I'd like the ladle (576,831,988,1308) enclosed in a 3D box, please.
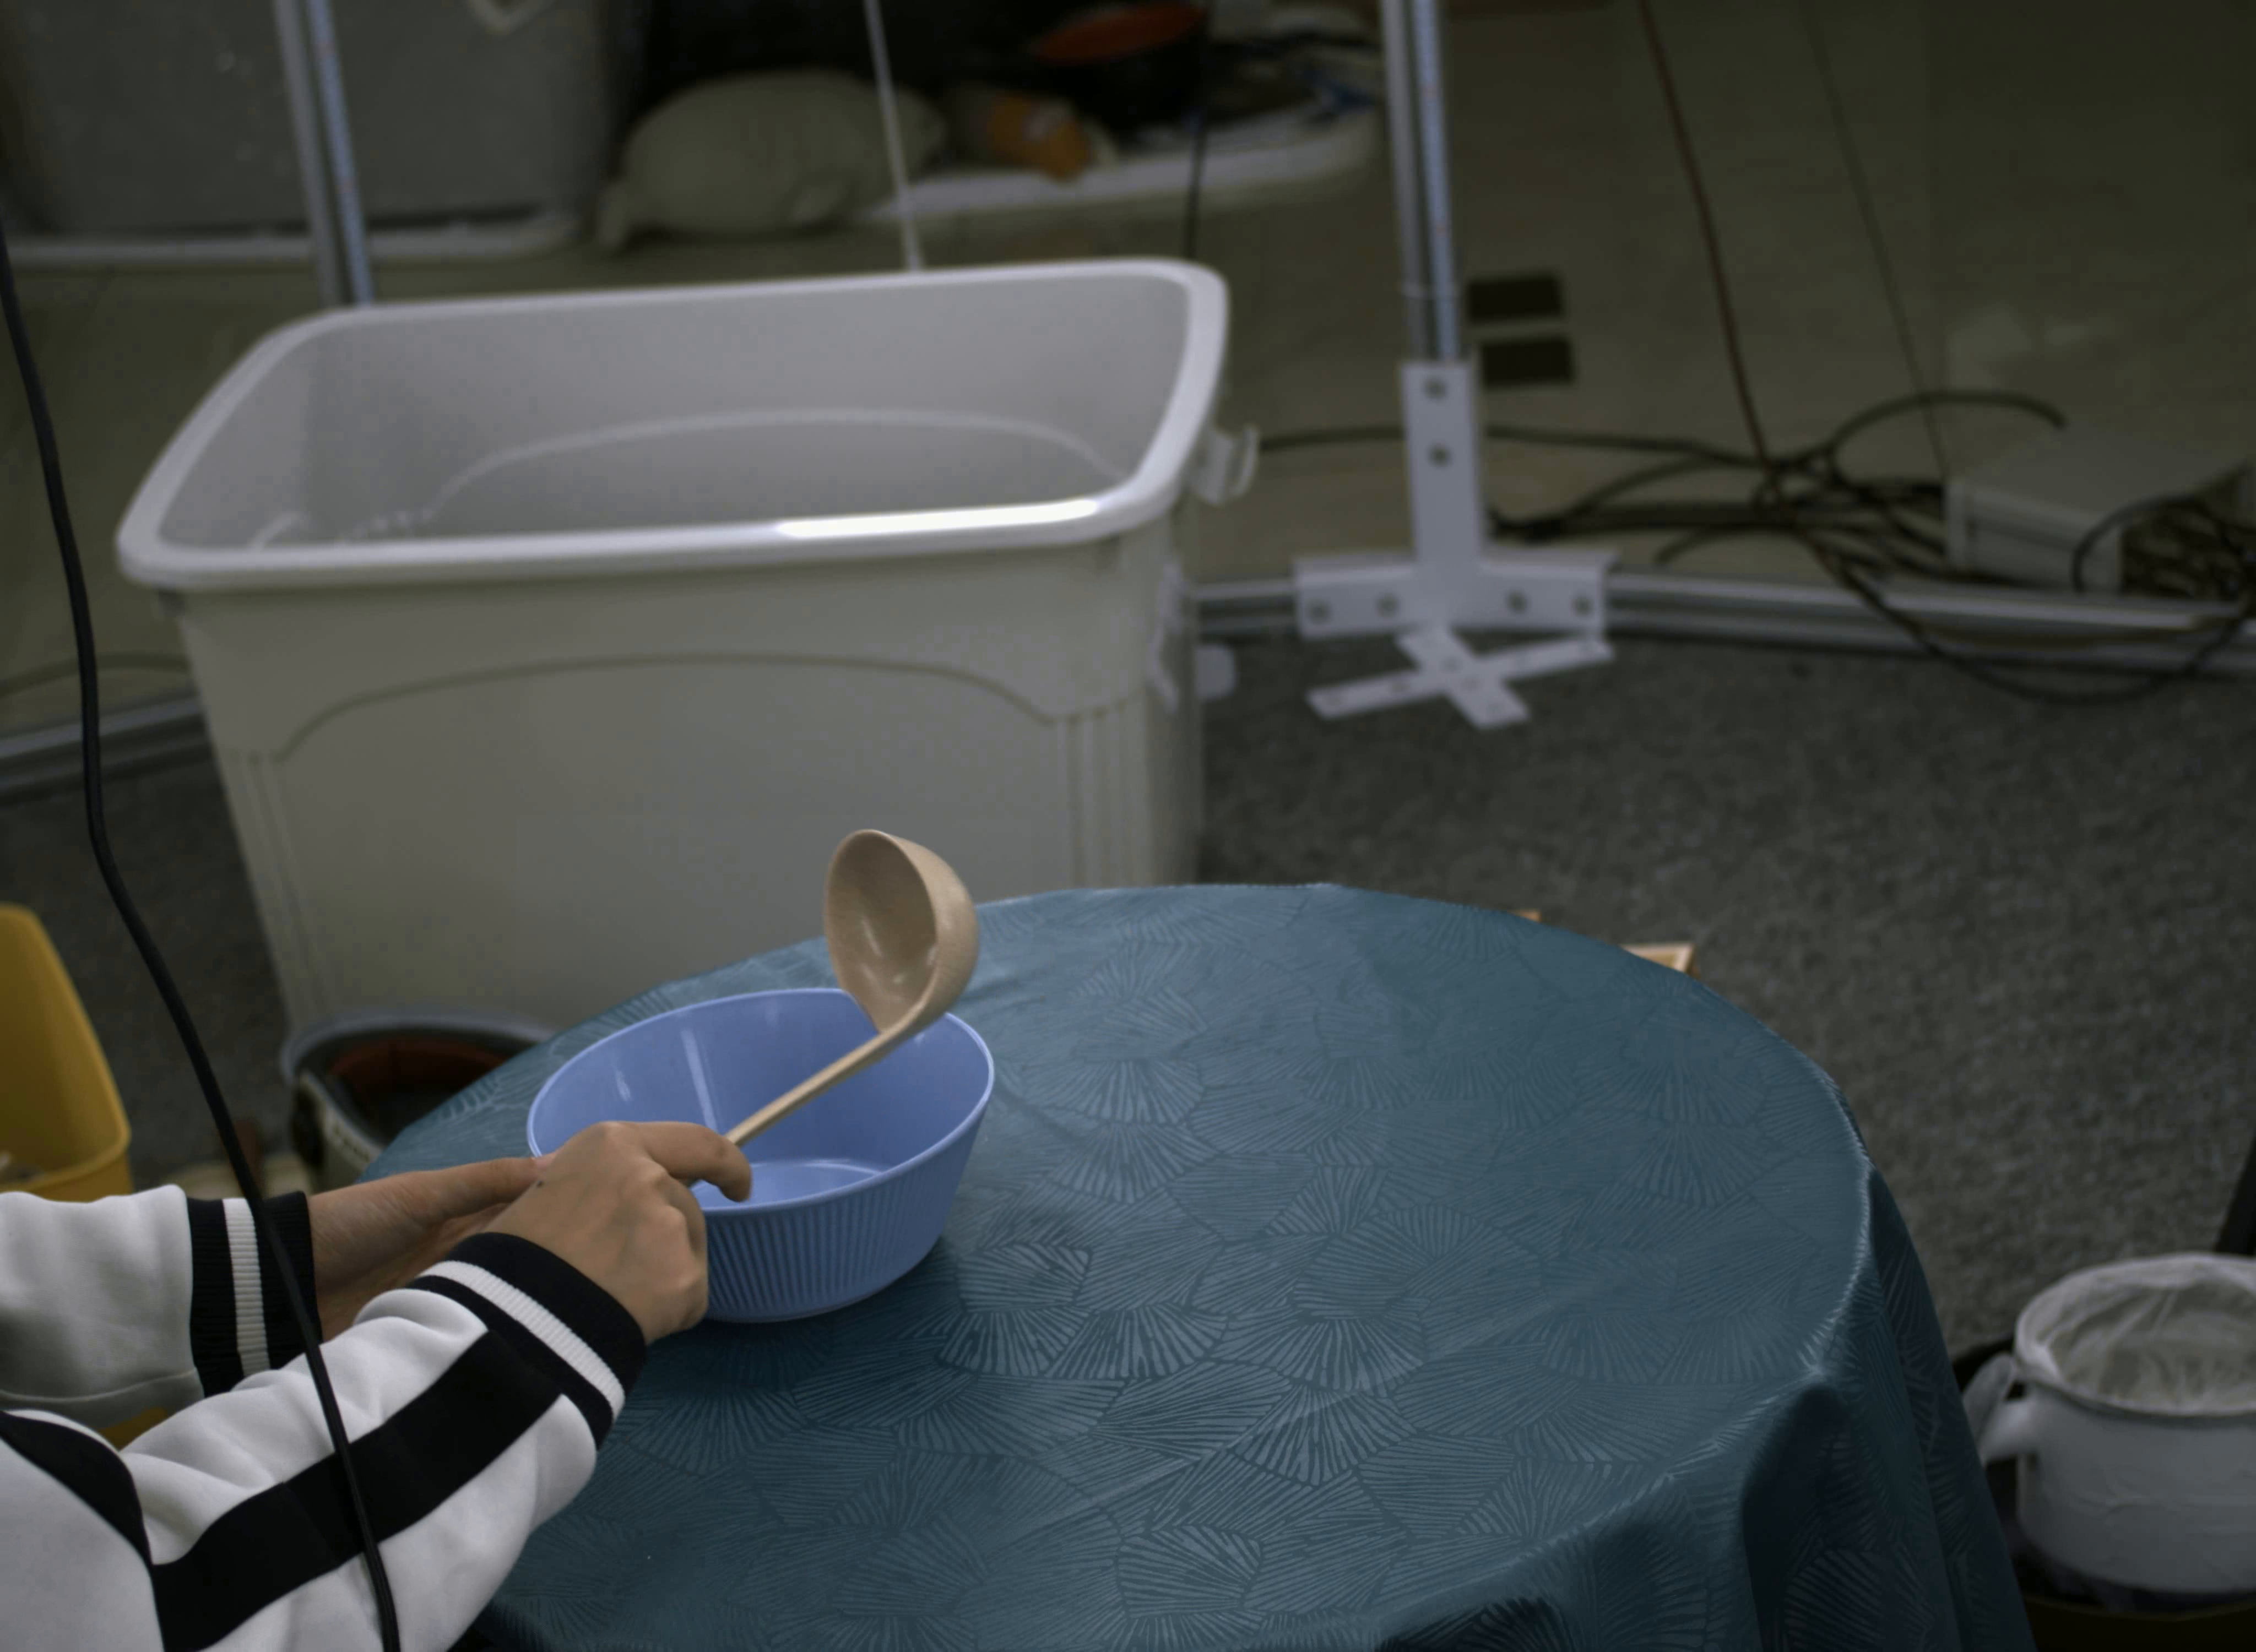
[{"bbox_3d":[-0.137,0.080,1.952,0.072,0.073,0.251,44,42,8],"label":"ladle"}]

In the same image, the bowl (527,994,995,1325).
[{"bbox_3d":[-0.133,0.130,2.116,0.176,0.071,0.173,-6,24,3],"label":"bowl"}]
